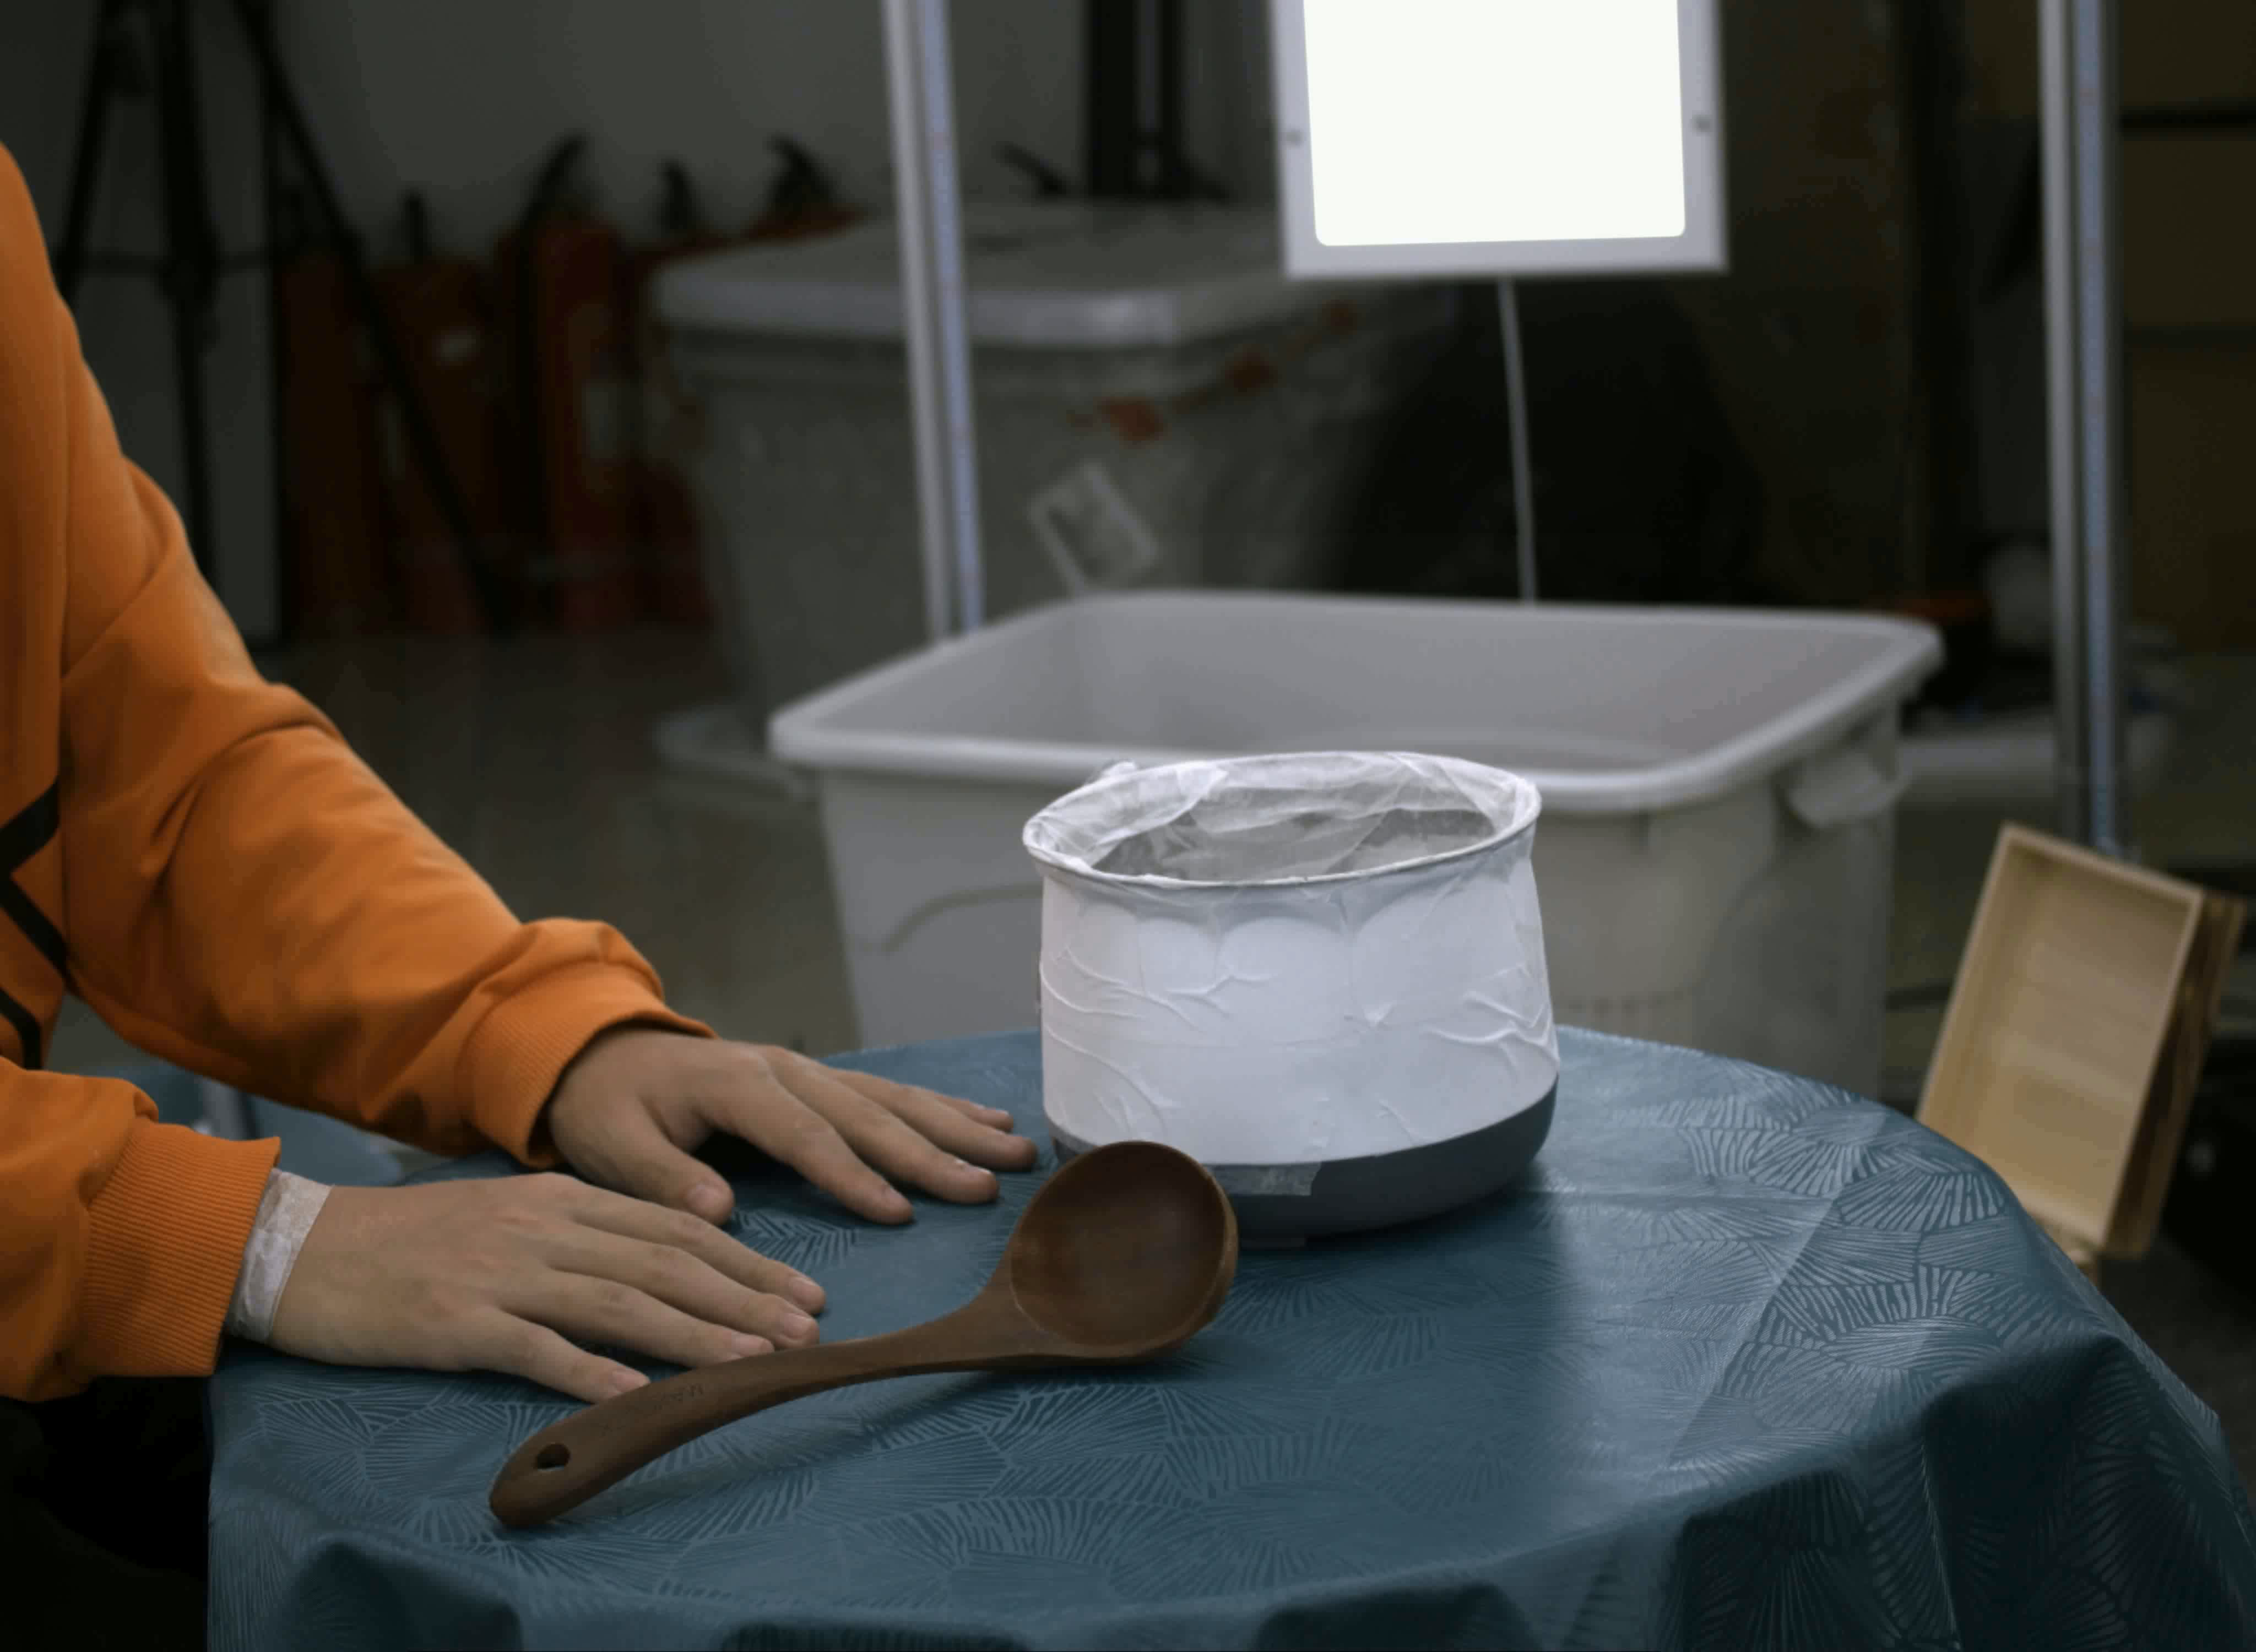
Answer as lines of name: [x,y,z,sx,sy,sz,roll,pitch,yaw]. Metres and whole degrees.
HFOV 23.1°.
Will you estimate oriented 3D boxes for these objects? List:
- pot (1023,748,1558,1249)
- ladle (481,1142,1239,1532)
pot: [0.041,0.053,1.894,0.174,0.137,0.238,-13,16,-32]
ladle: [-0.080,0.156,1.682,0.254,0.066,0.077,-13,41,-31]
